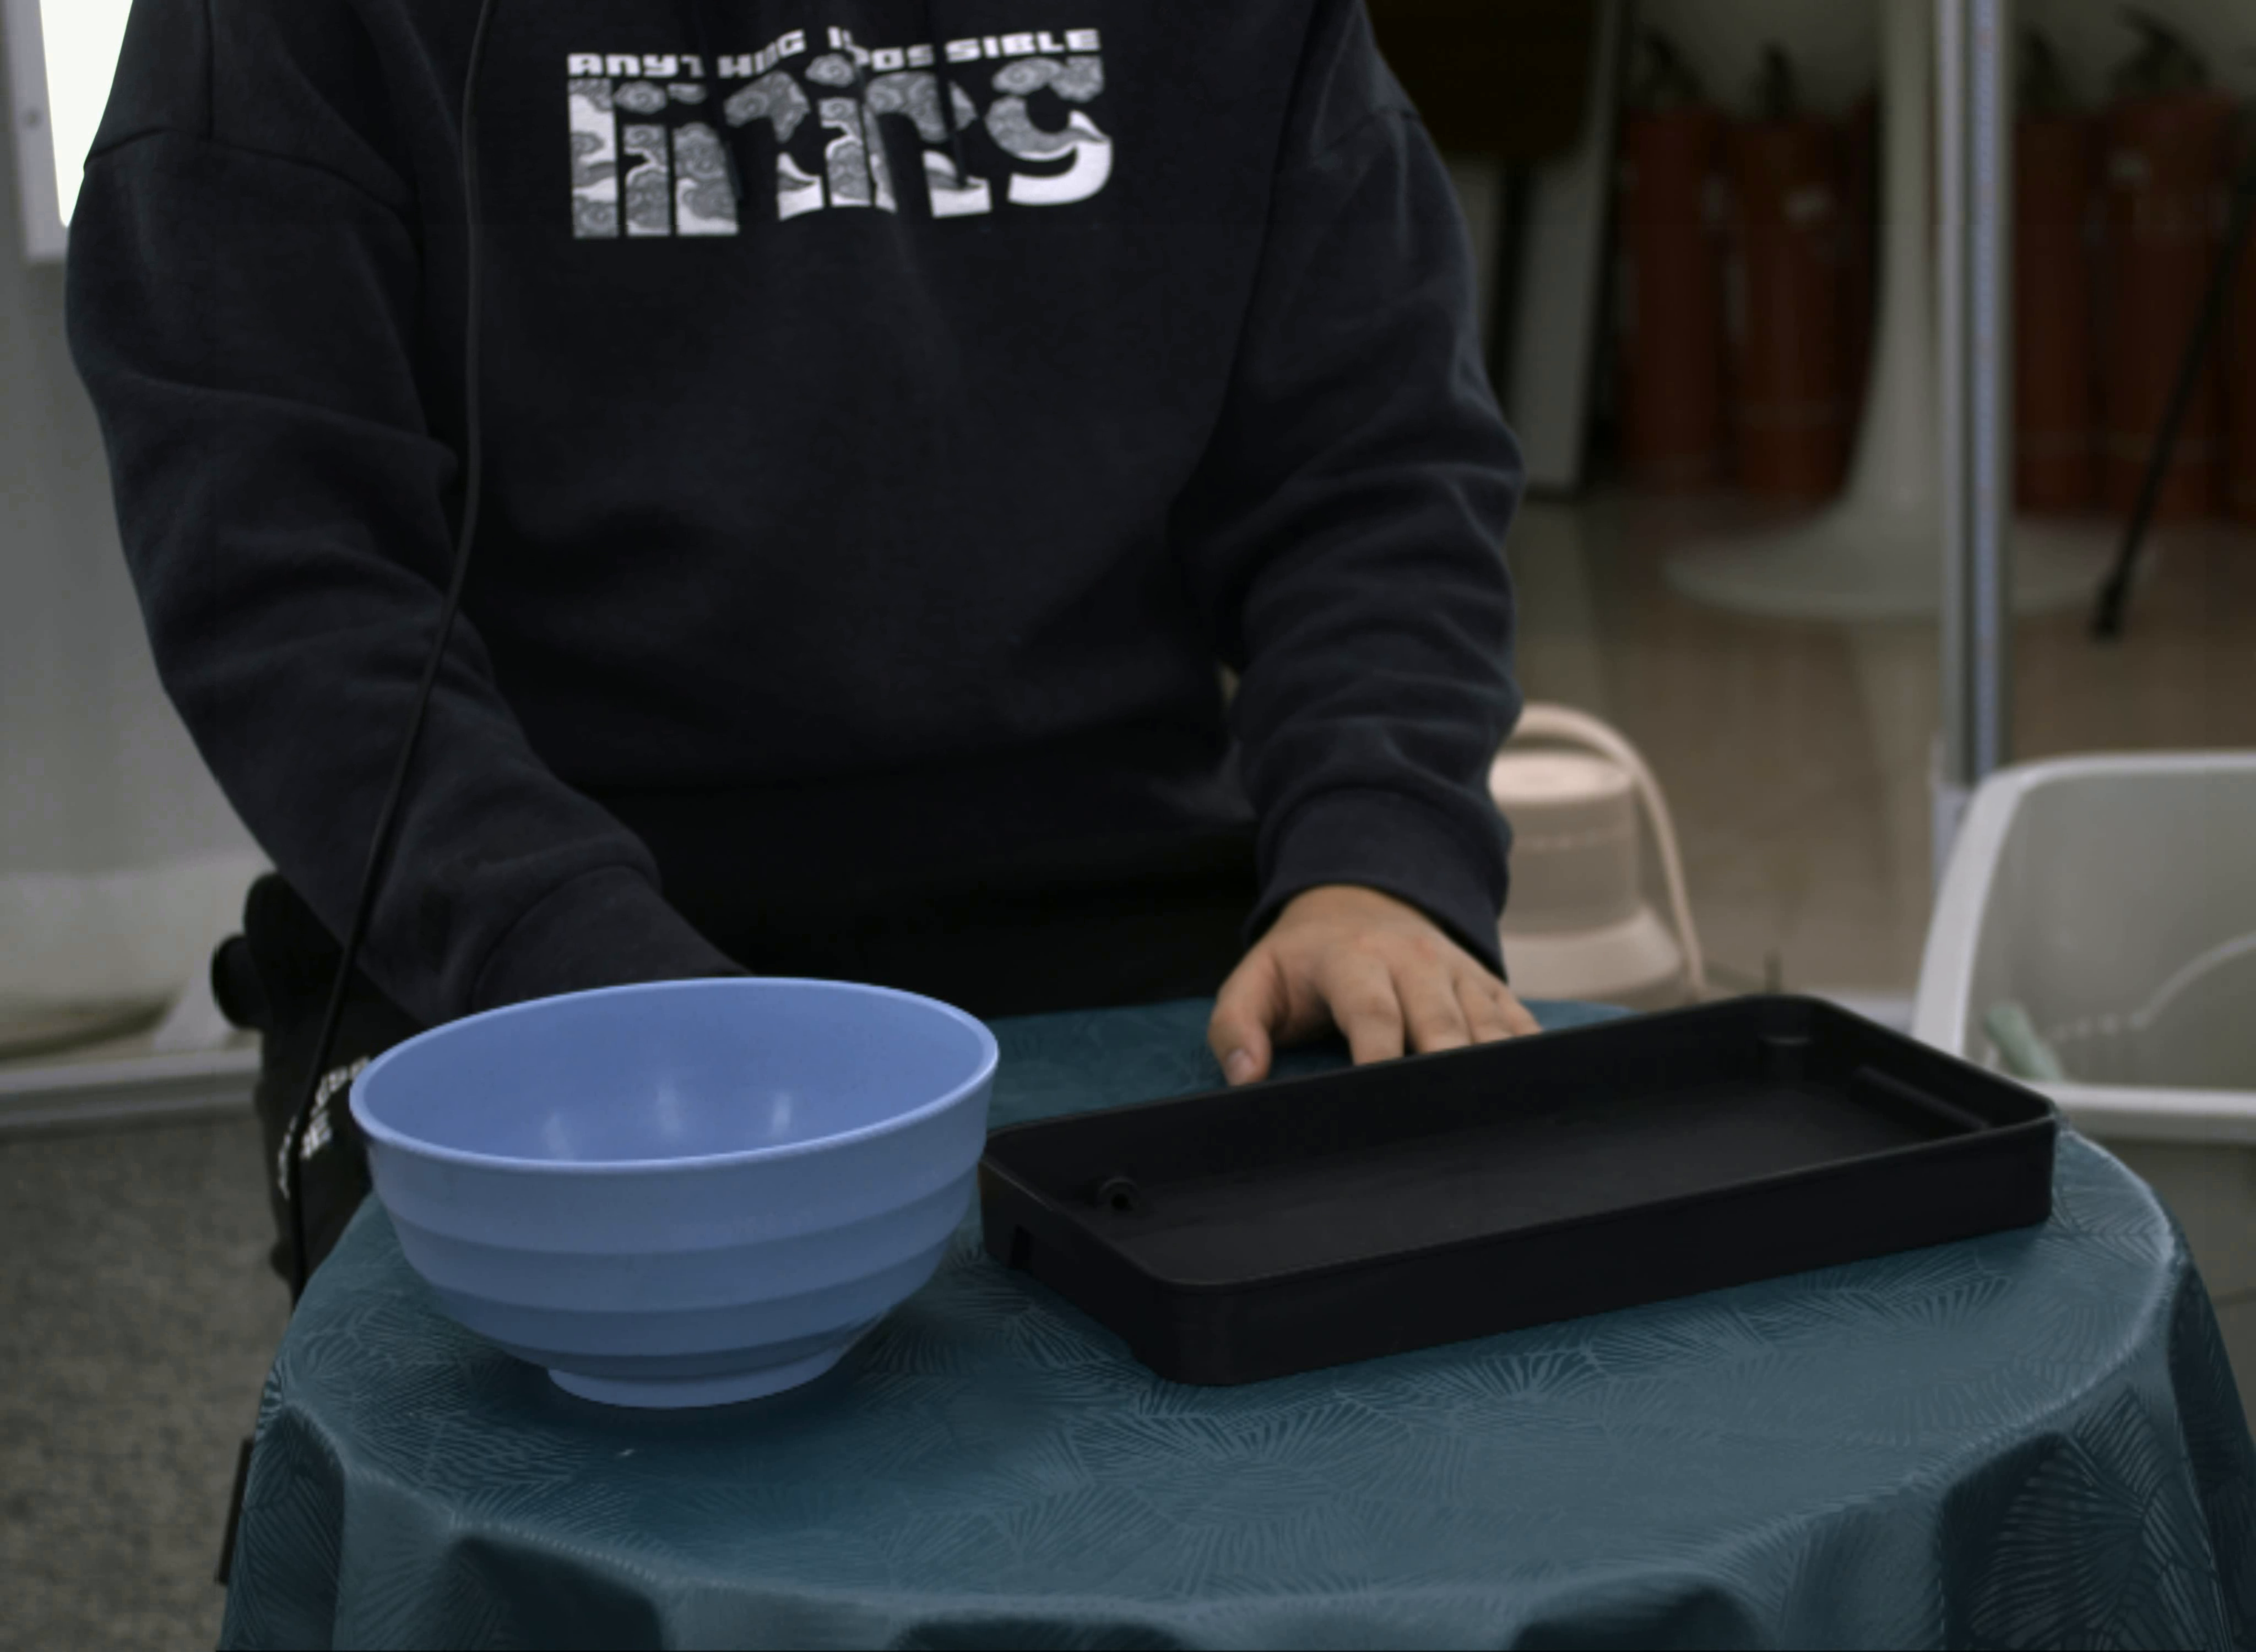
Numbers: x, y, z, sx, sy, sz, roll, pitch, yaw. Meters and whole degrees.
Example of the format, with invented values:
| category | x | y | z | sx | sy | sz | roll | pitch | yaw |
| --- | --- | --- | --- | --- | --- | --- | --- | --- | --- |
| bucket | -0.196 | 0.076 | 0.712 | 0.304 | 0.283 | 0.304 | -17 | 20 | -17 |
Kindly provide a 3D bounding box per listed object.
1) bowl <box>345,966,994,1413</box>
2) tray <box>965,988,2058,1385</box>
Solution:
| category | x | y | z | sx | sy | sz | roll | pitch | yaw |
| --- | --- | --- | --- | --- | --- | --- | --- | --- | --- |
| bowl | -0.133 | 0.115 | 1.628 | 0.194 | 0.096 | 0.197 | -5 | 15 | 1 |
| tray | 0.121 | 0.110 | 1.707 | 0.311 | 0.037 | 0.186 | -9 | 14 | -21 |
